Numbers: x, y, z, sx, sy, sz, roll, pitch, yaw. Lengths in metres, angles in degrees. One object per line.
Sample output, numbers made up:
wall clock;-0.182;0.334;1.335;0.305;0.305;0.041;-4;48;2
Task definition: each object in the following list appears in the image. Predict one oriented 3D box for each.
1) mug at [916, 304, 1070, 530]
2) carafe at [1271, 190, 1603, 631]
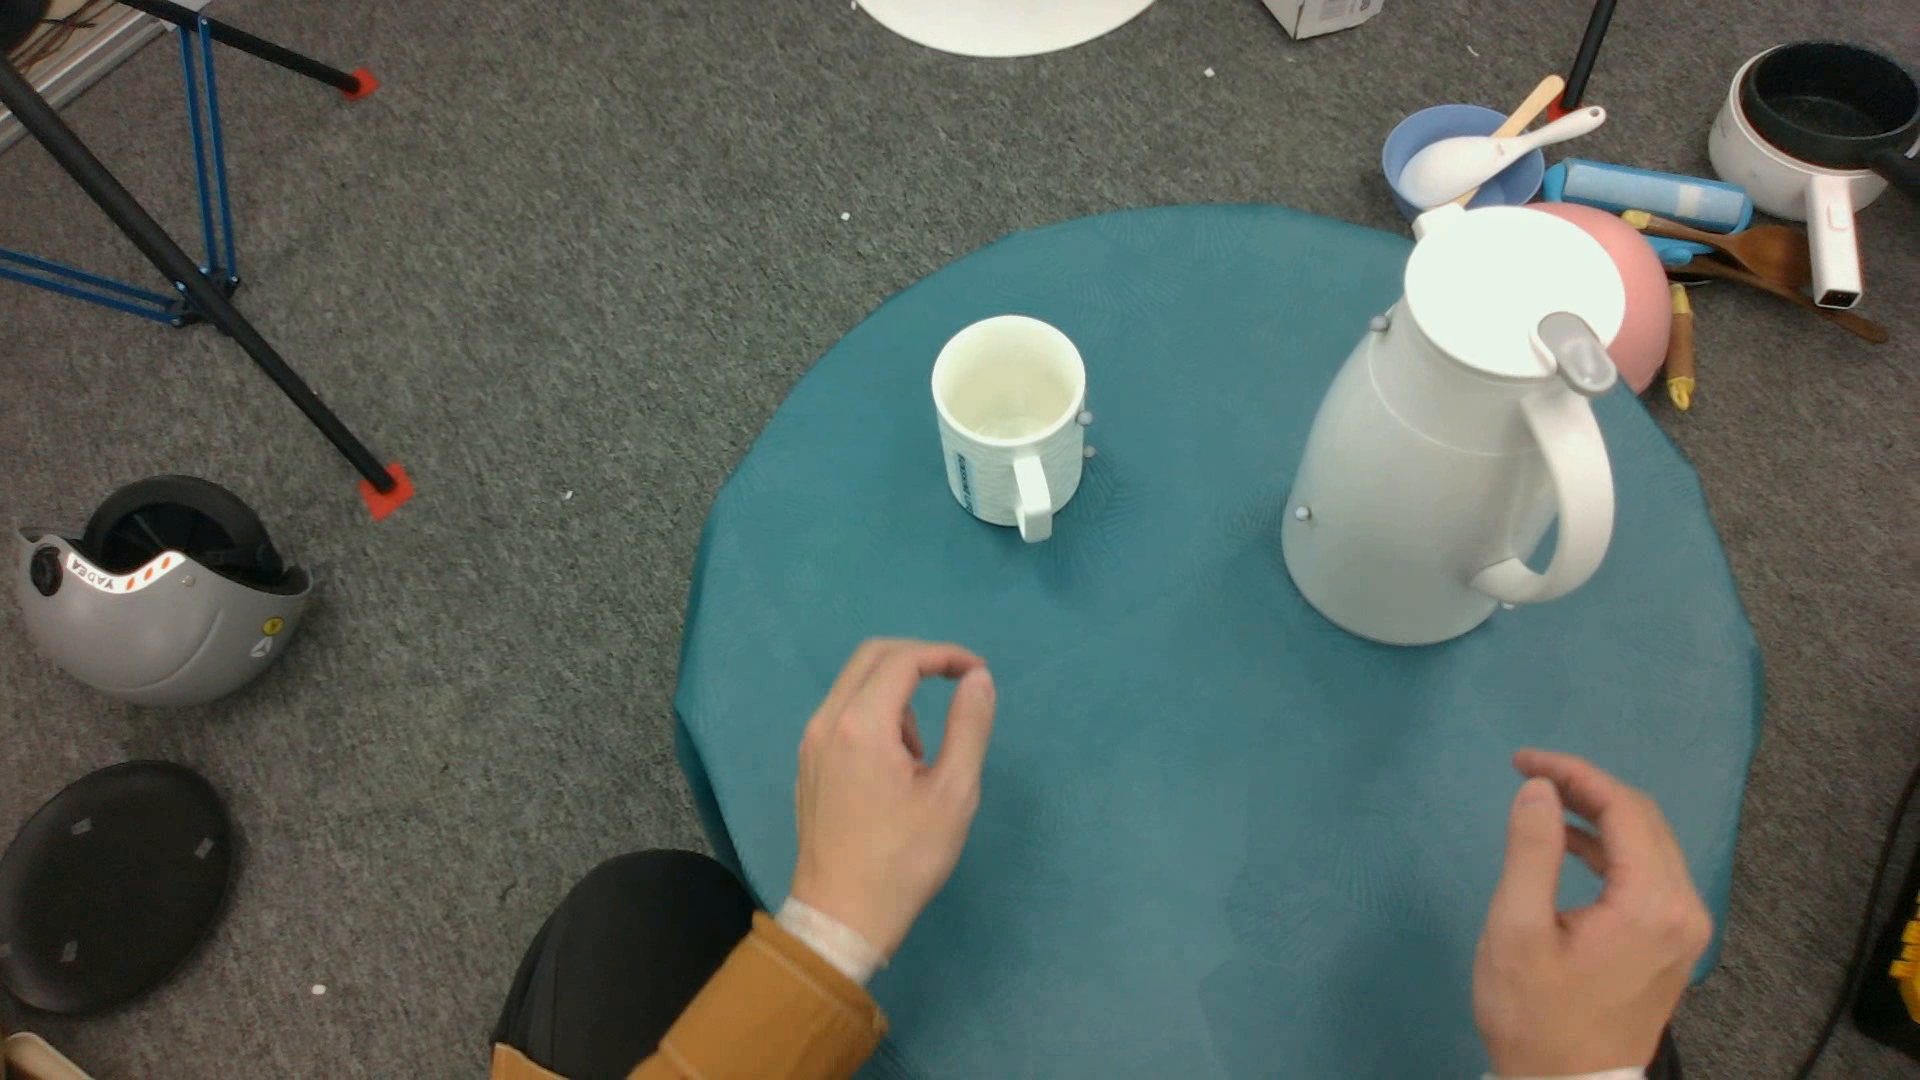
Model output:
mug;0.026;-0.060;0.796;0.085;0.101;0.118;-15;62;-3
carafe;0.249;-0.048;0.693;0.132;0.247;0.168;-21;63;-8
